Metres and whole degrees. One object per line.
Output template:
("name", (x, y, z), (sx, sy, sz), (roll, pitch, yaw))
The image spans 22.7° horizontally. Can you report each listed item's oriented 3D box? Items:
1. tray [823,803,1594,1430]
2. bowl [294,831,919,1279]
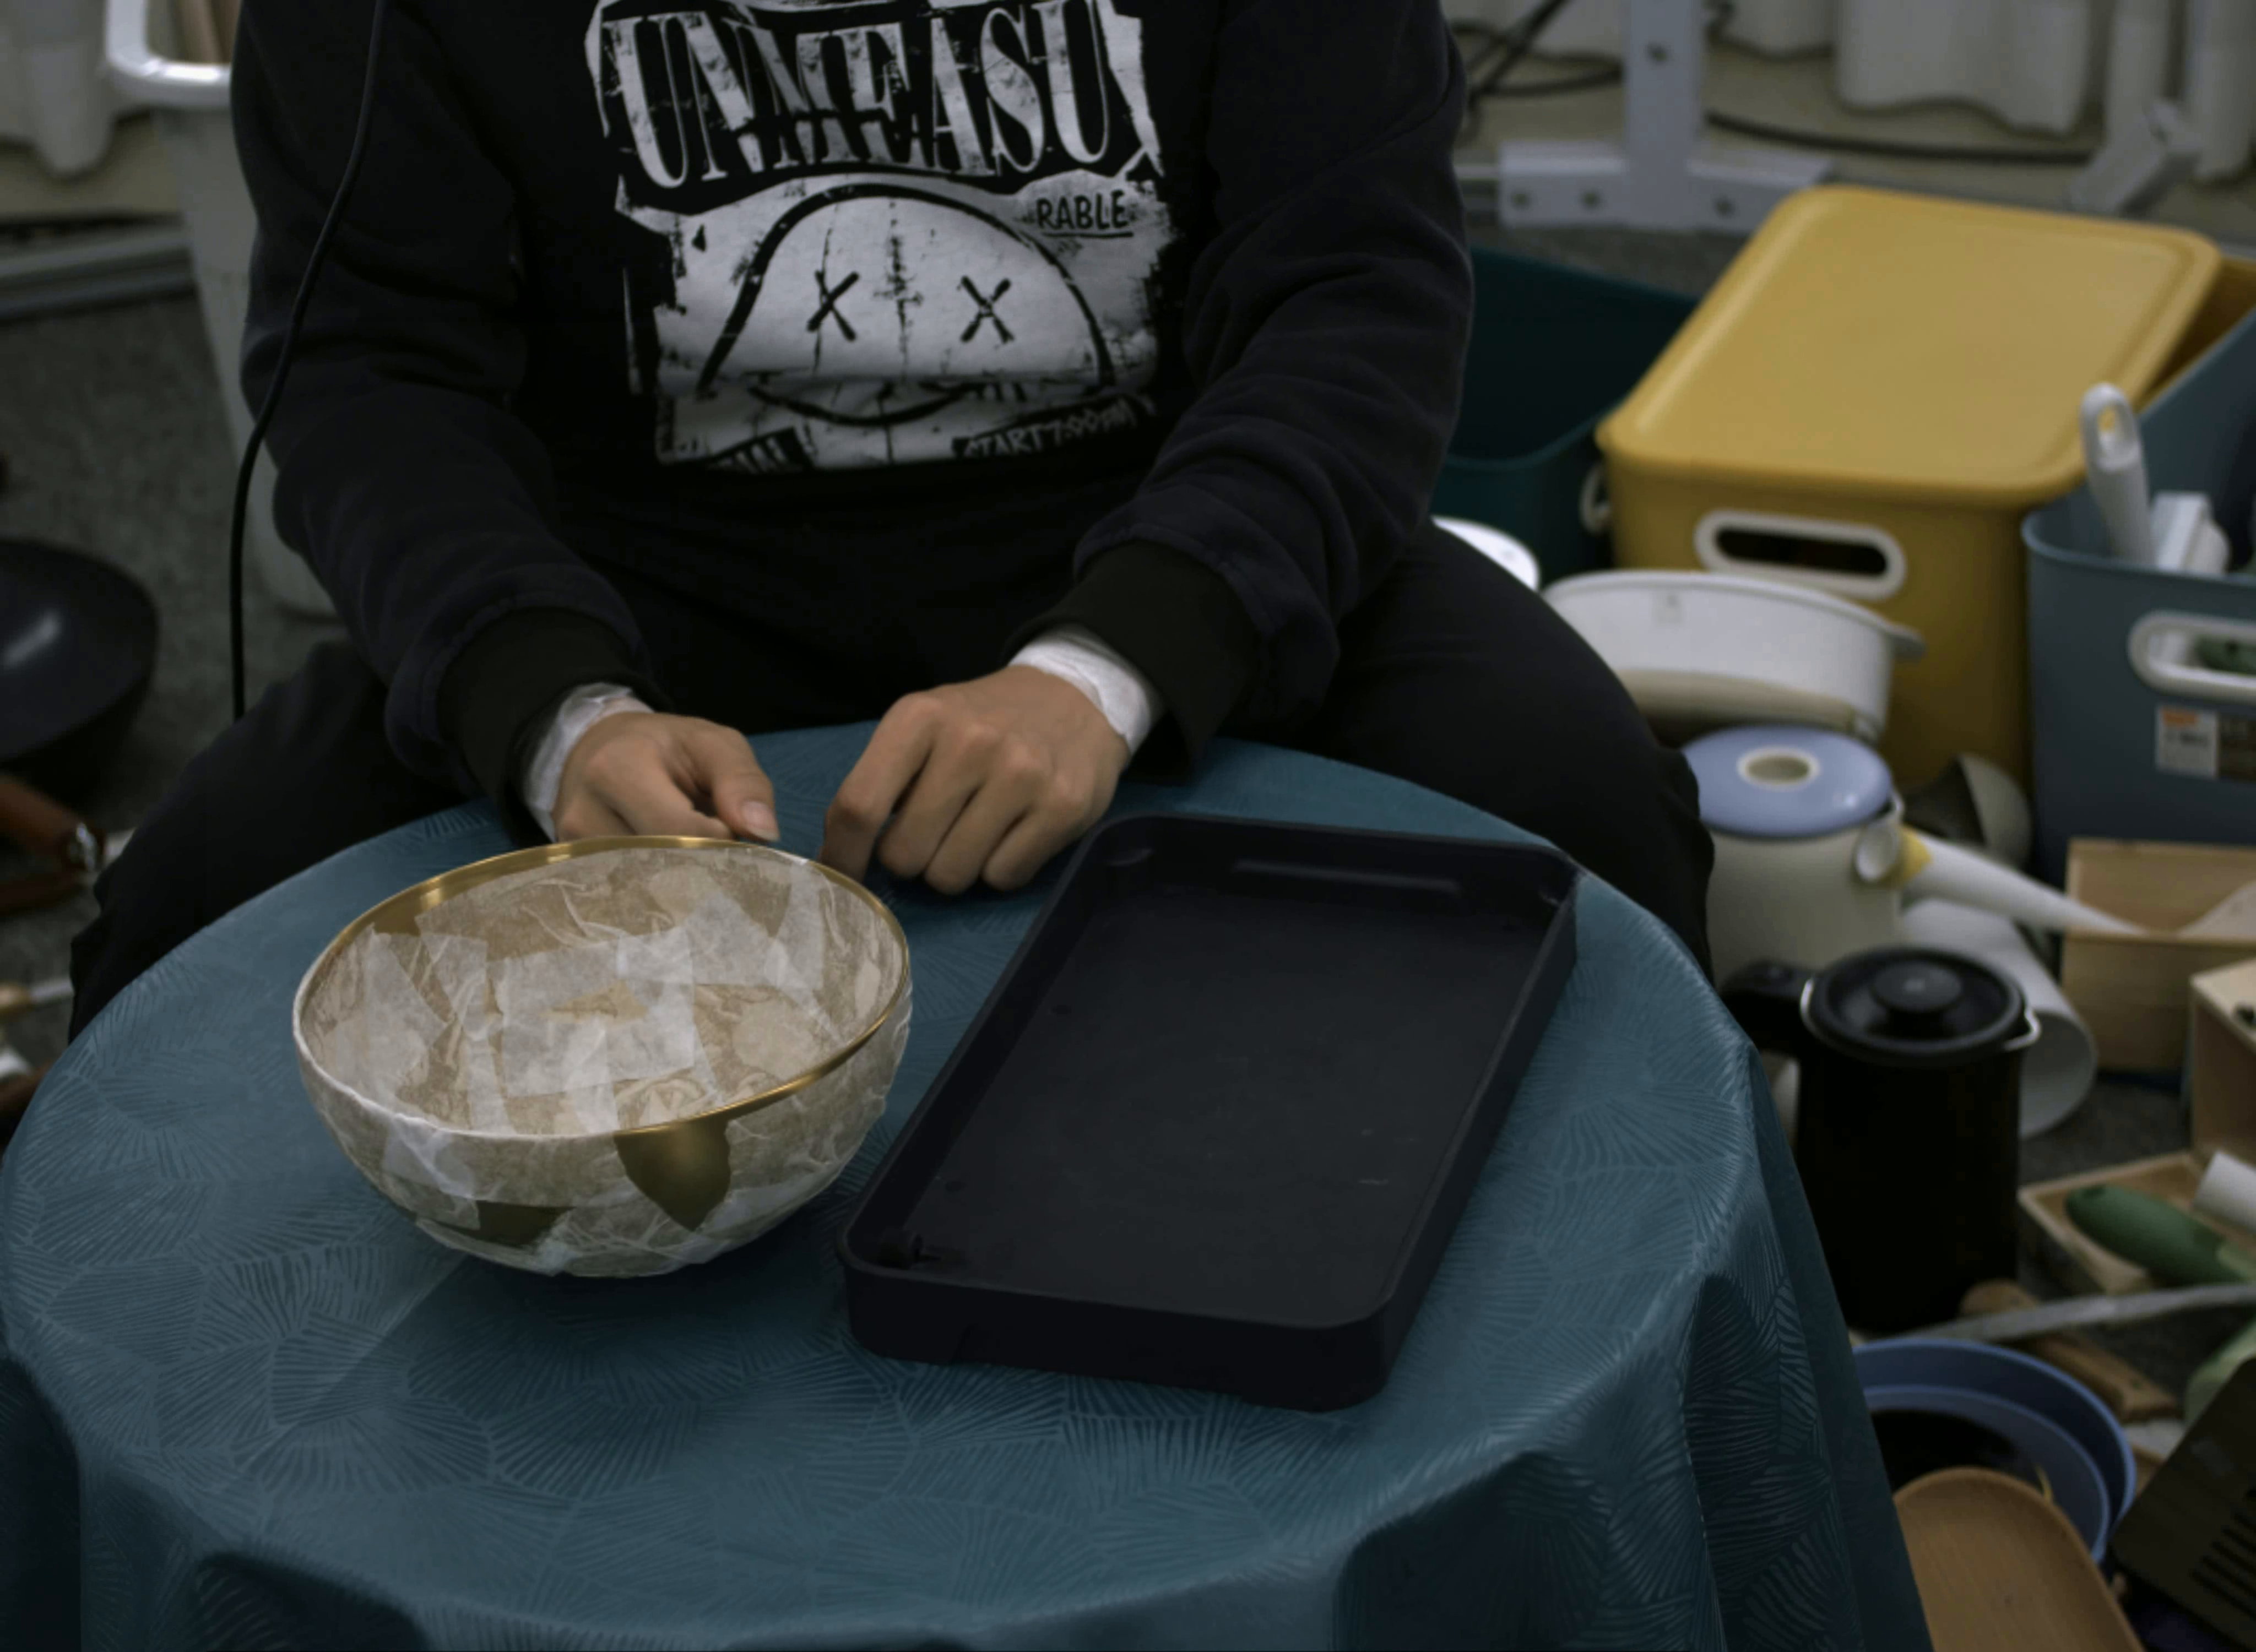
("tray", (0.034, 0.090, 1.884), (0.183, 0.036, 0.323), (7, 30, 17))
("bowl", (-0.163, 0.087, 1.843), (0.213, 0.093, 0.218), (-4, 27, 2))
